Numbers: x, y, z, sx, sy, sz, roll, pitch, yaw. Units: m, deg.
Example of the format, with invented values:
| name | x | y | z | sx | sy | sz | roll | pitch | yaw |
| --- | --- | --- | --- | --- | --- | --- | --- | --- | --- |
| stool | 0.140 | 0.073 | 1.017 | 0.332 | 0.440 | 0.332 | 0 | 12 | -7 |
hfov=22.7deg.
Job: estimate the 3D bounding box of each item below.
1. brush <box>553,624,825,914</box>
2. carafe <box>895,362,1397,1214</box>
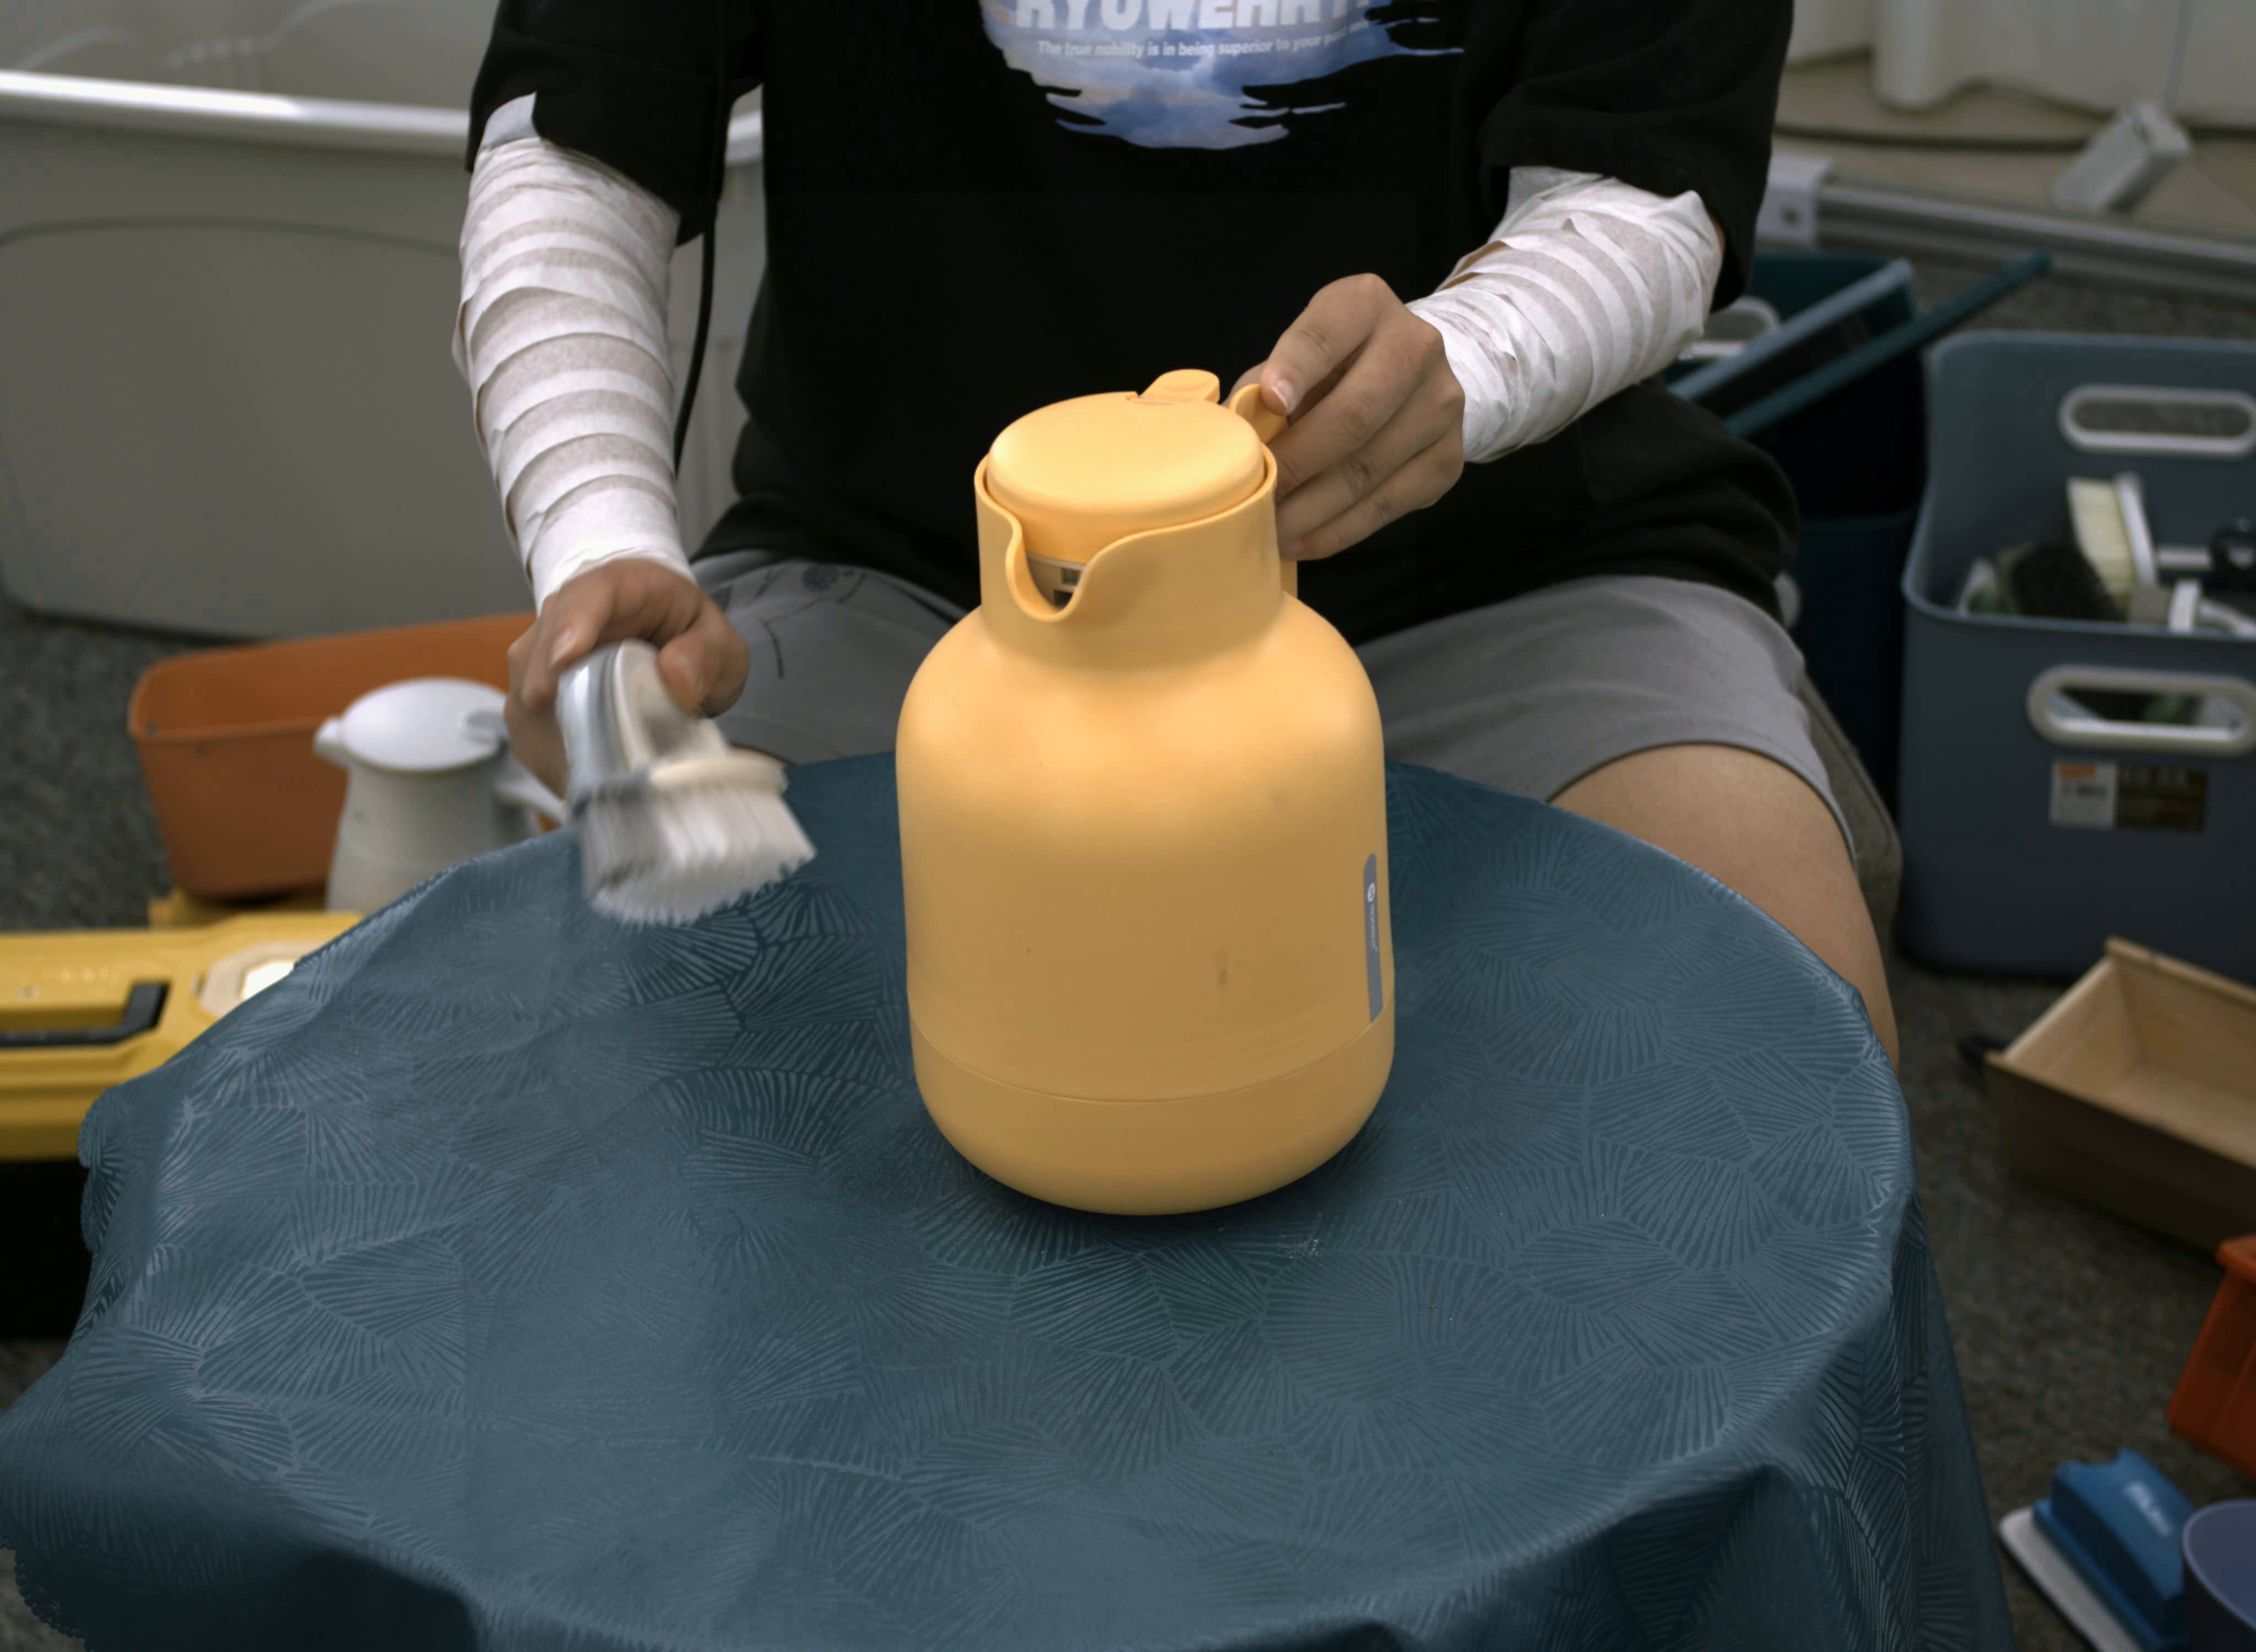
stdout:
| name | x | y | z | sx | sy | sz | roll | pitch | yaw |
| --- | --- | --- | --- | --- | --- | --- | --- | --- | --- |
| brush | -0.158 | -0.025 | 1.881 | 0.061 | 0.095 | 0.175 | -29 | -7 | 8 |
| carafe | 0.013 | -0.021 | 1.859 | 0.162 | 0.257 | 0.206 | 10 | 30 | 21 |
